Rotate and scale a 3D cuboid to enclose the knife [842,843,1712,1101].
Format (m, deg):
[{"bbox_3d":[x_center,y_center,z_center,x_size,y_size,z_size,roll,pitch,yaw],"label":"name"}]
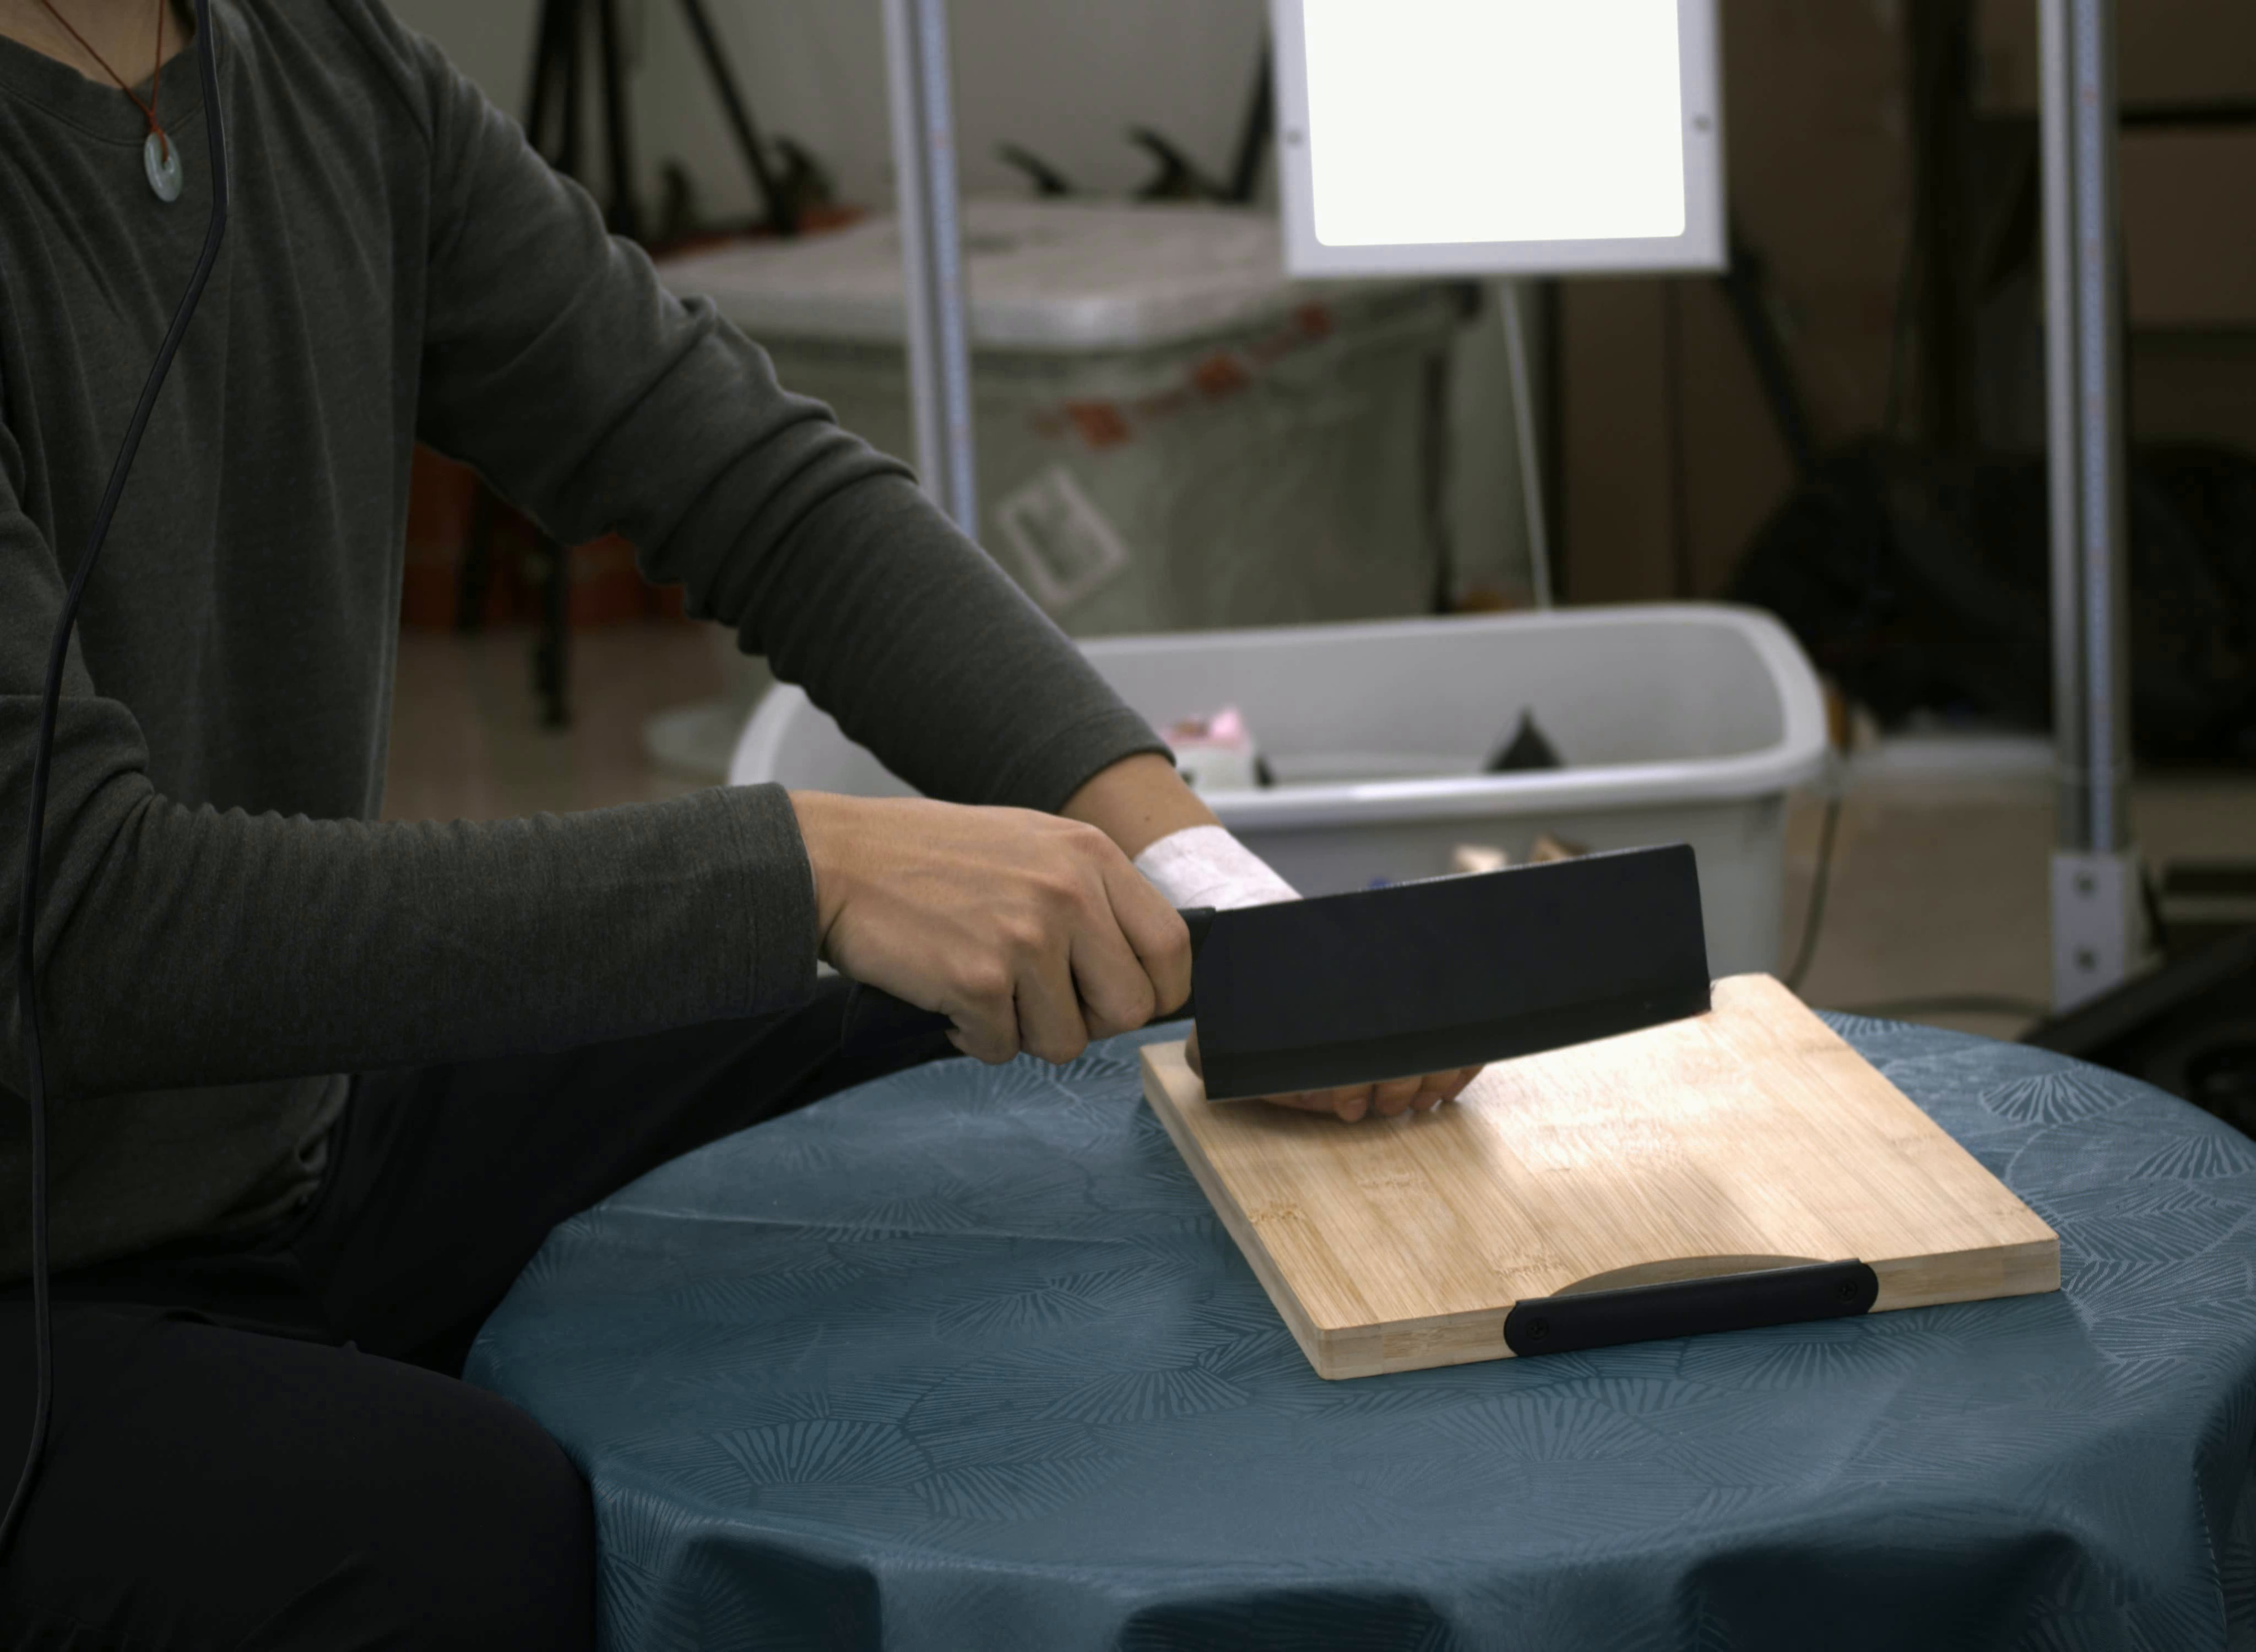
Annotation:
[{"bbox_3d":[0.052,0.054,1.867,0.300,0.081,0.021,-4,6,-6],"label":"knife"}]

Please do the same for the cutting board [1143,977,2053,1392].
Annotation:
[{"bbox_3d":[0.150,0.115,1.863,0.248,0.023,0.350,-8,14,-7],"label":"cutting board"}]
